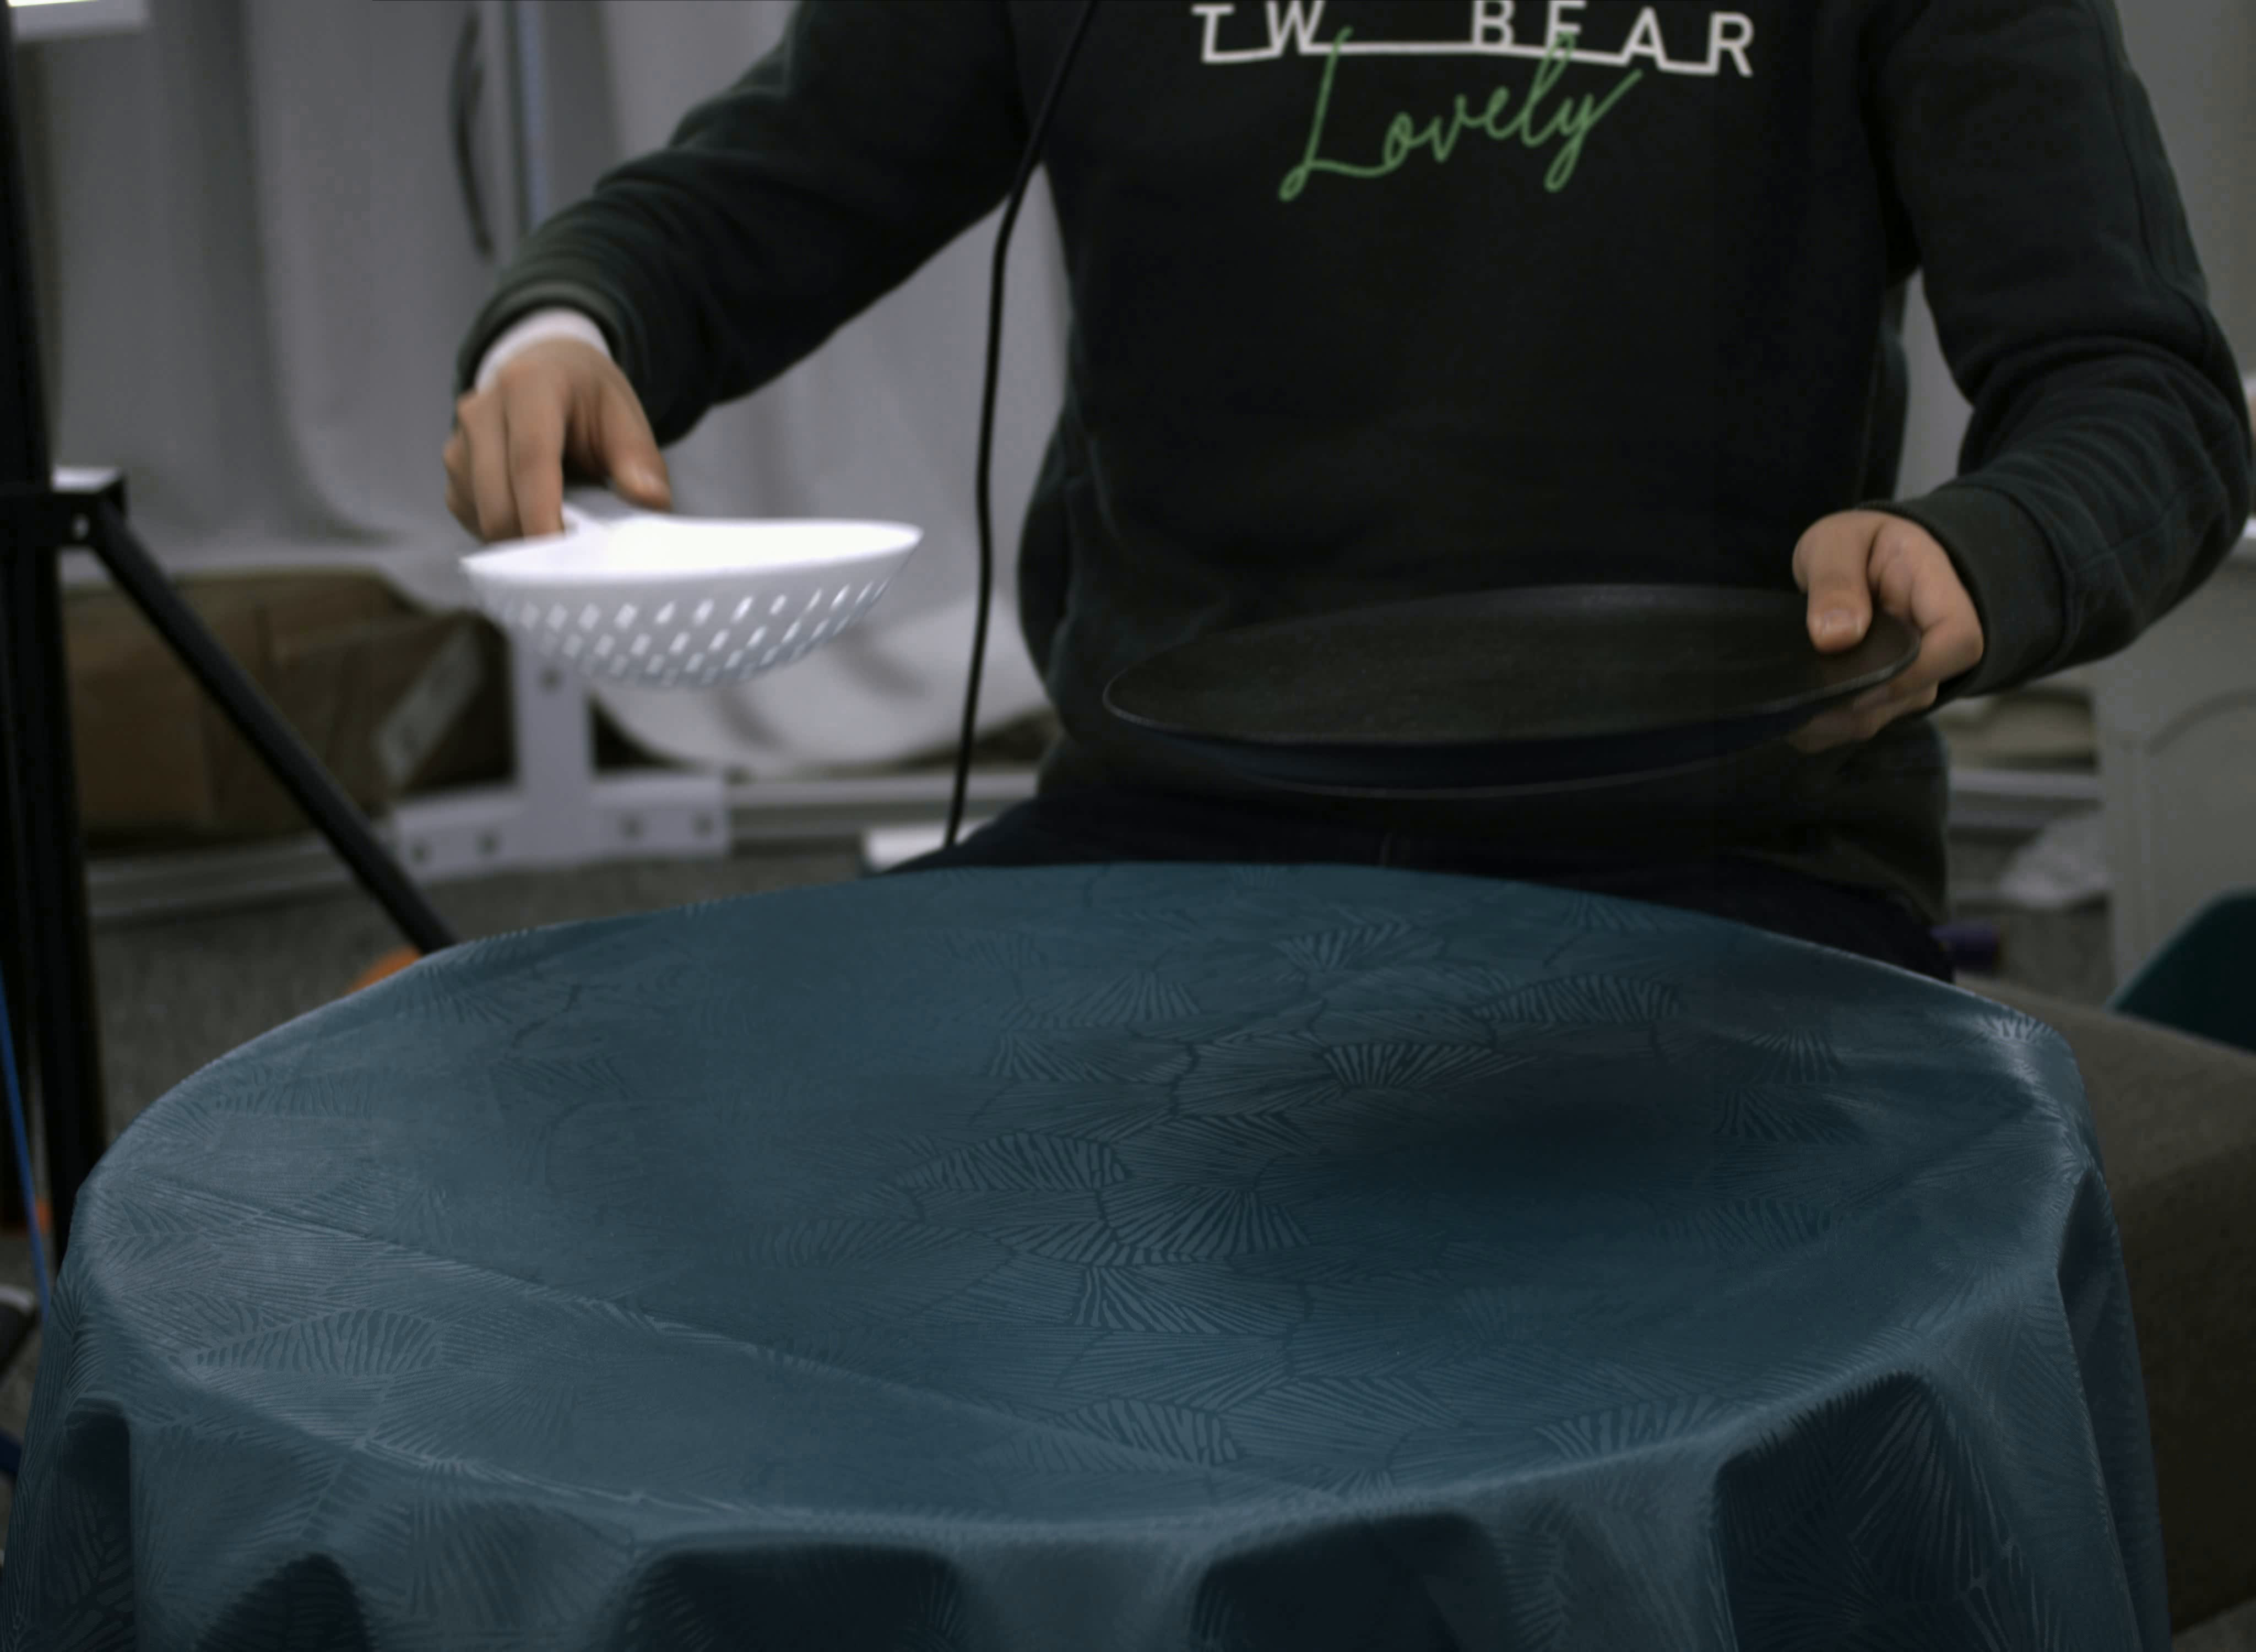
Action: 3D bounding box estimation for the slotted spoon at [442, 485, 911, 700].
[{"bbox_3d":[-0.153,-0.084,1.647,0.134,0.046,0.354,-5,13,-11],"label":"slotted spoon"}]

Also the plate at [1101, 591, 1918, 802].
[{"bbox_3d":[0.113,-0.037,1.583,0.243,0.023,0.245,-5,12,0],"label":"plate"}]
